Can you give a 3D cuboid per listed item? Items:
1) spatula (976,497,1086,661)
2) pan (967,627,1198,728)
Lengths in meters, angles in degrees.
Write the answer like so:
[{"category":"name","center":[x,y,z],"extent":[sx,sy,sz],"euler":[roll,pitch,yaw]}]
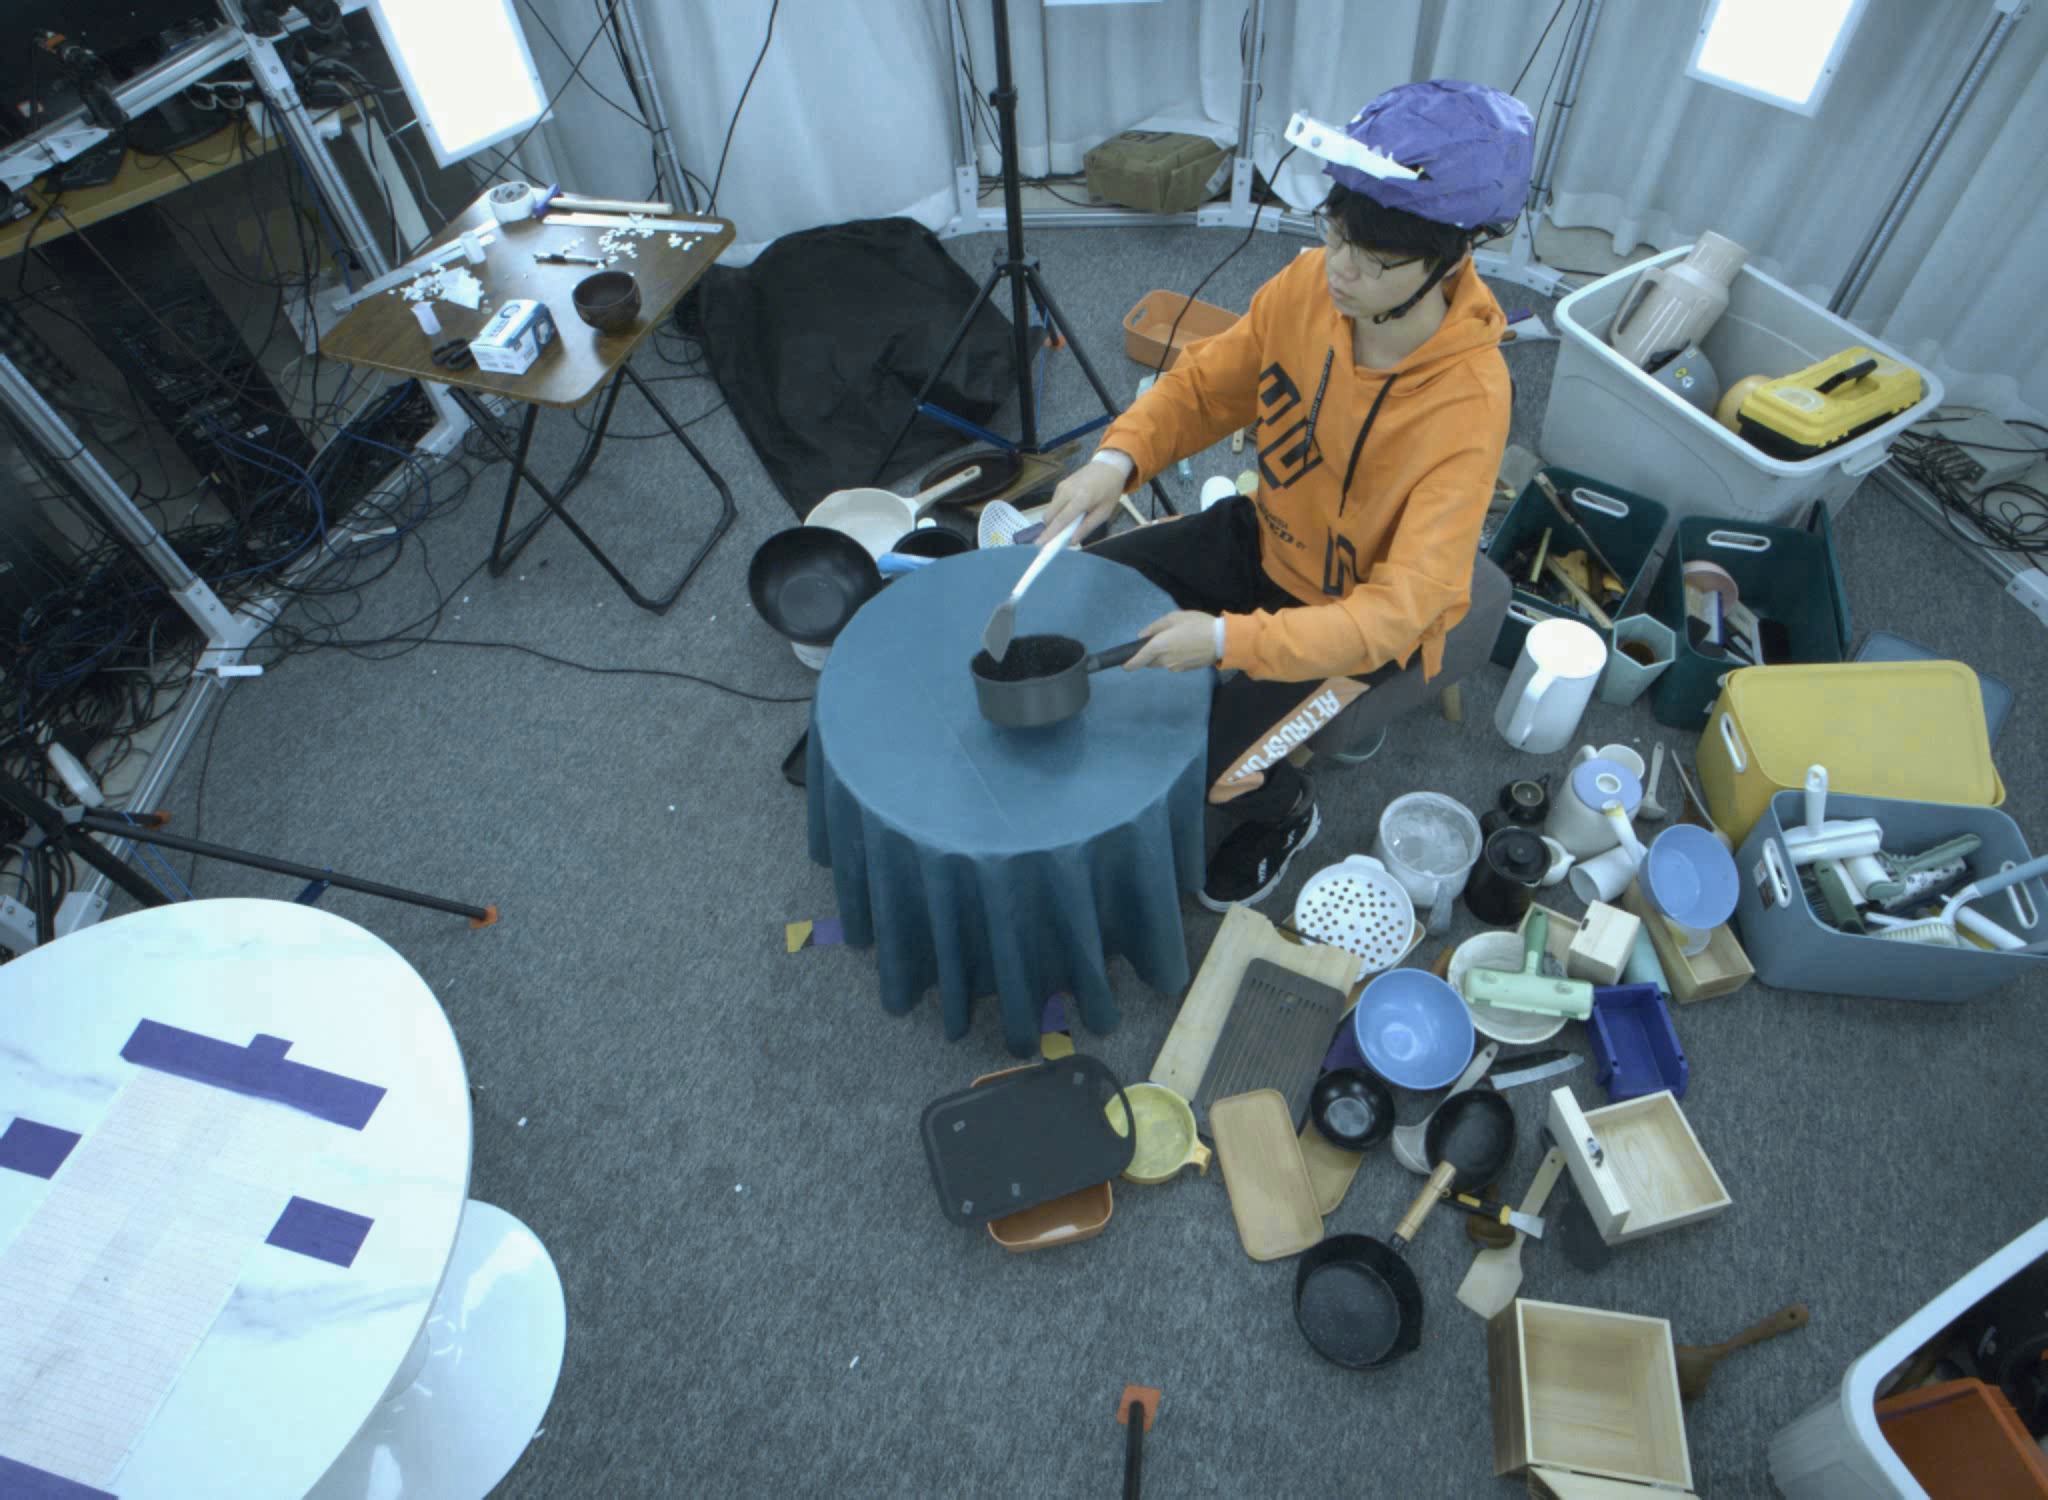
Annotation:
[{"category":"spatula","center":[0.009,-0.250,1.757],"extent":[0.031,0.060,0.288],"euler":[10,60,41]},{"category":"pan","center":[0.087,-0.111,1.755],"extent":[0.328,0.087,0.170],"euler":[-8,29,4]}]
